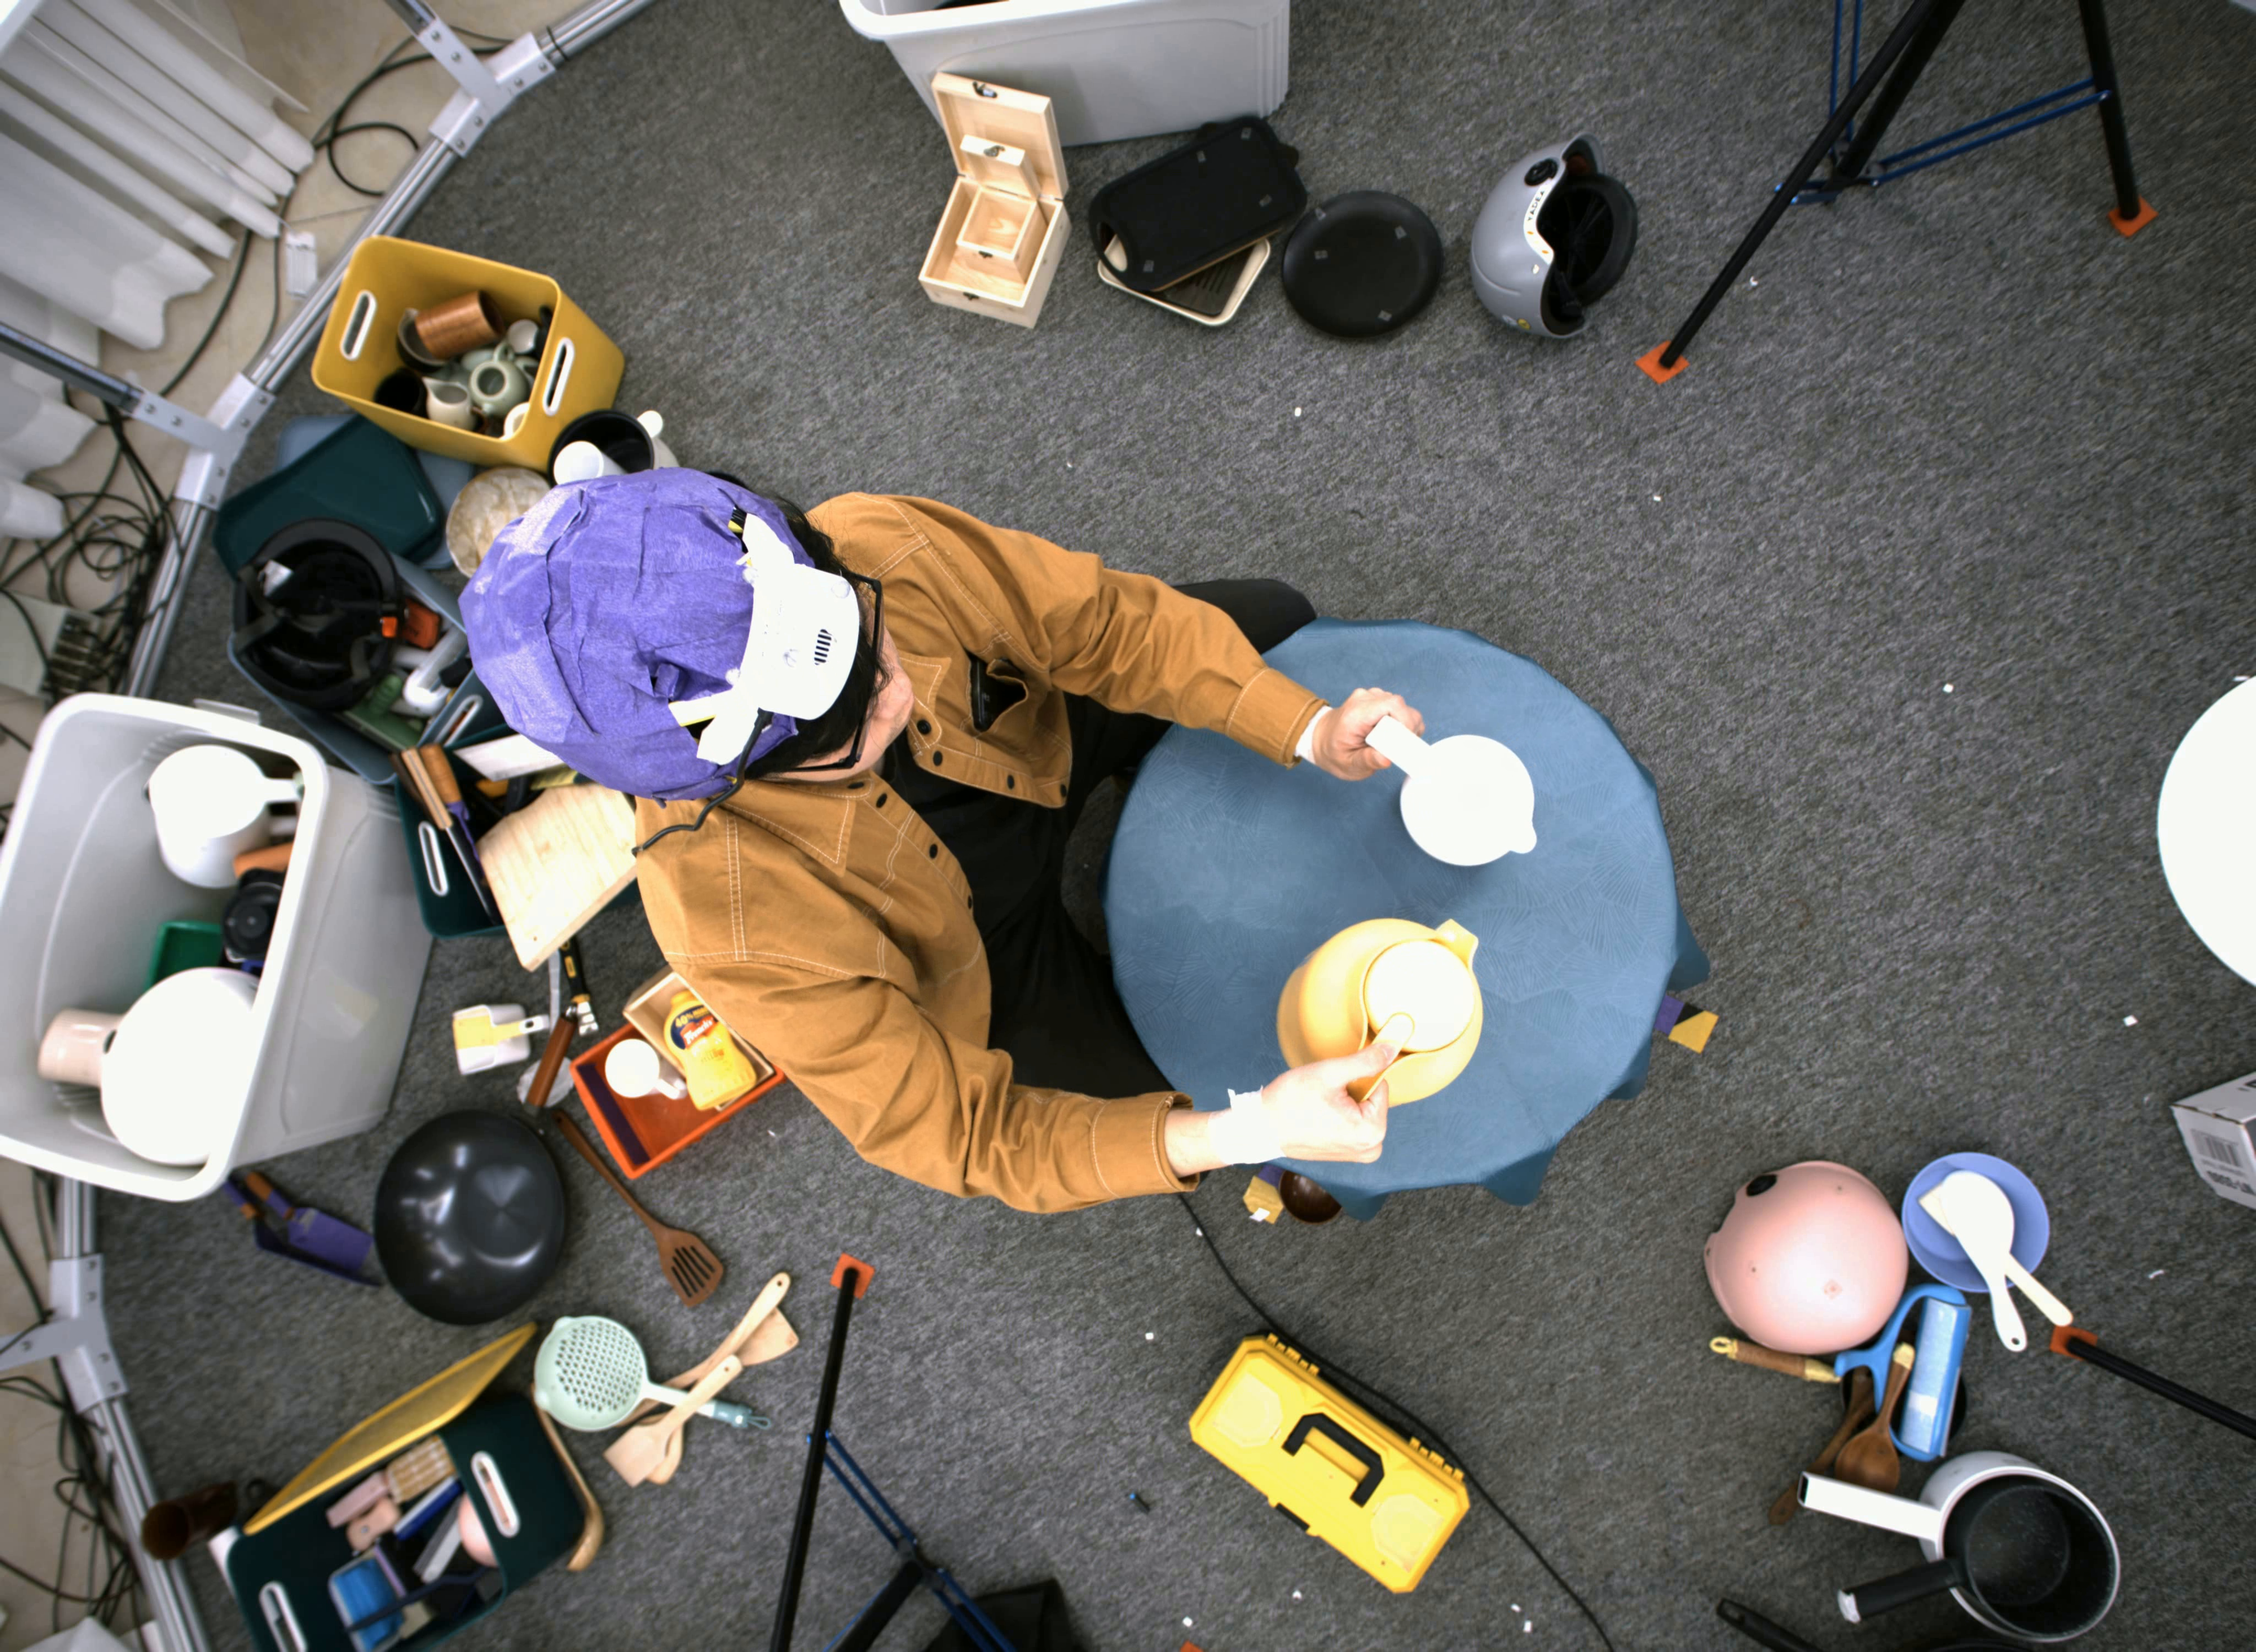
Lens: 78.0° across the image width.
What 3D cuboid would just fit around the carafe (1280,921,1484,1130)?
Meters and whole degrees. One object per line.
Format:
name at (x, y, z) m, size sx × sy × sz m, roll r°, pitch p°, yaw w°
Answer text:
carafe at (0.215, 0.179, 1.217) m, size 0.163 × 0.264 × 0.200 m, roll 39°, pitch 78°, yaw 9°

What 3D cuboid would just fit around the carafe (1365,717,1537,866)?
carafe at (0.301, -0.033, 1.292) m, size 0.172 × 0.267 × 0.125 m, roll 38°, pitch 99°, yaw 9°
